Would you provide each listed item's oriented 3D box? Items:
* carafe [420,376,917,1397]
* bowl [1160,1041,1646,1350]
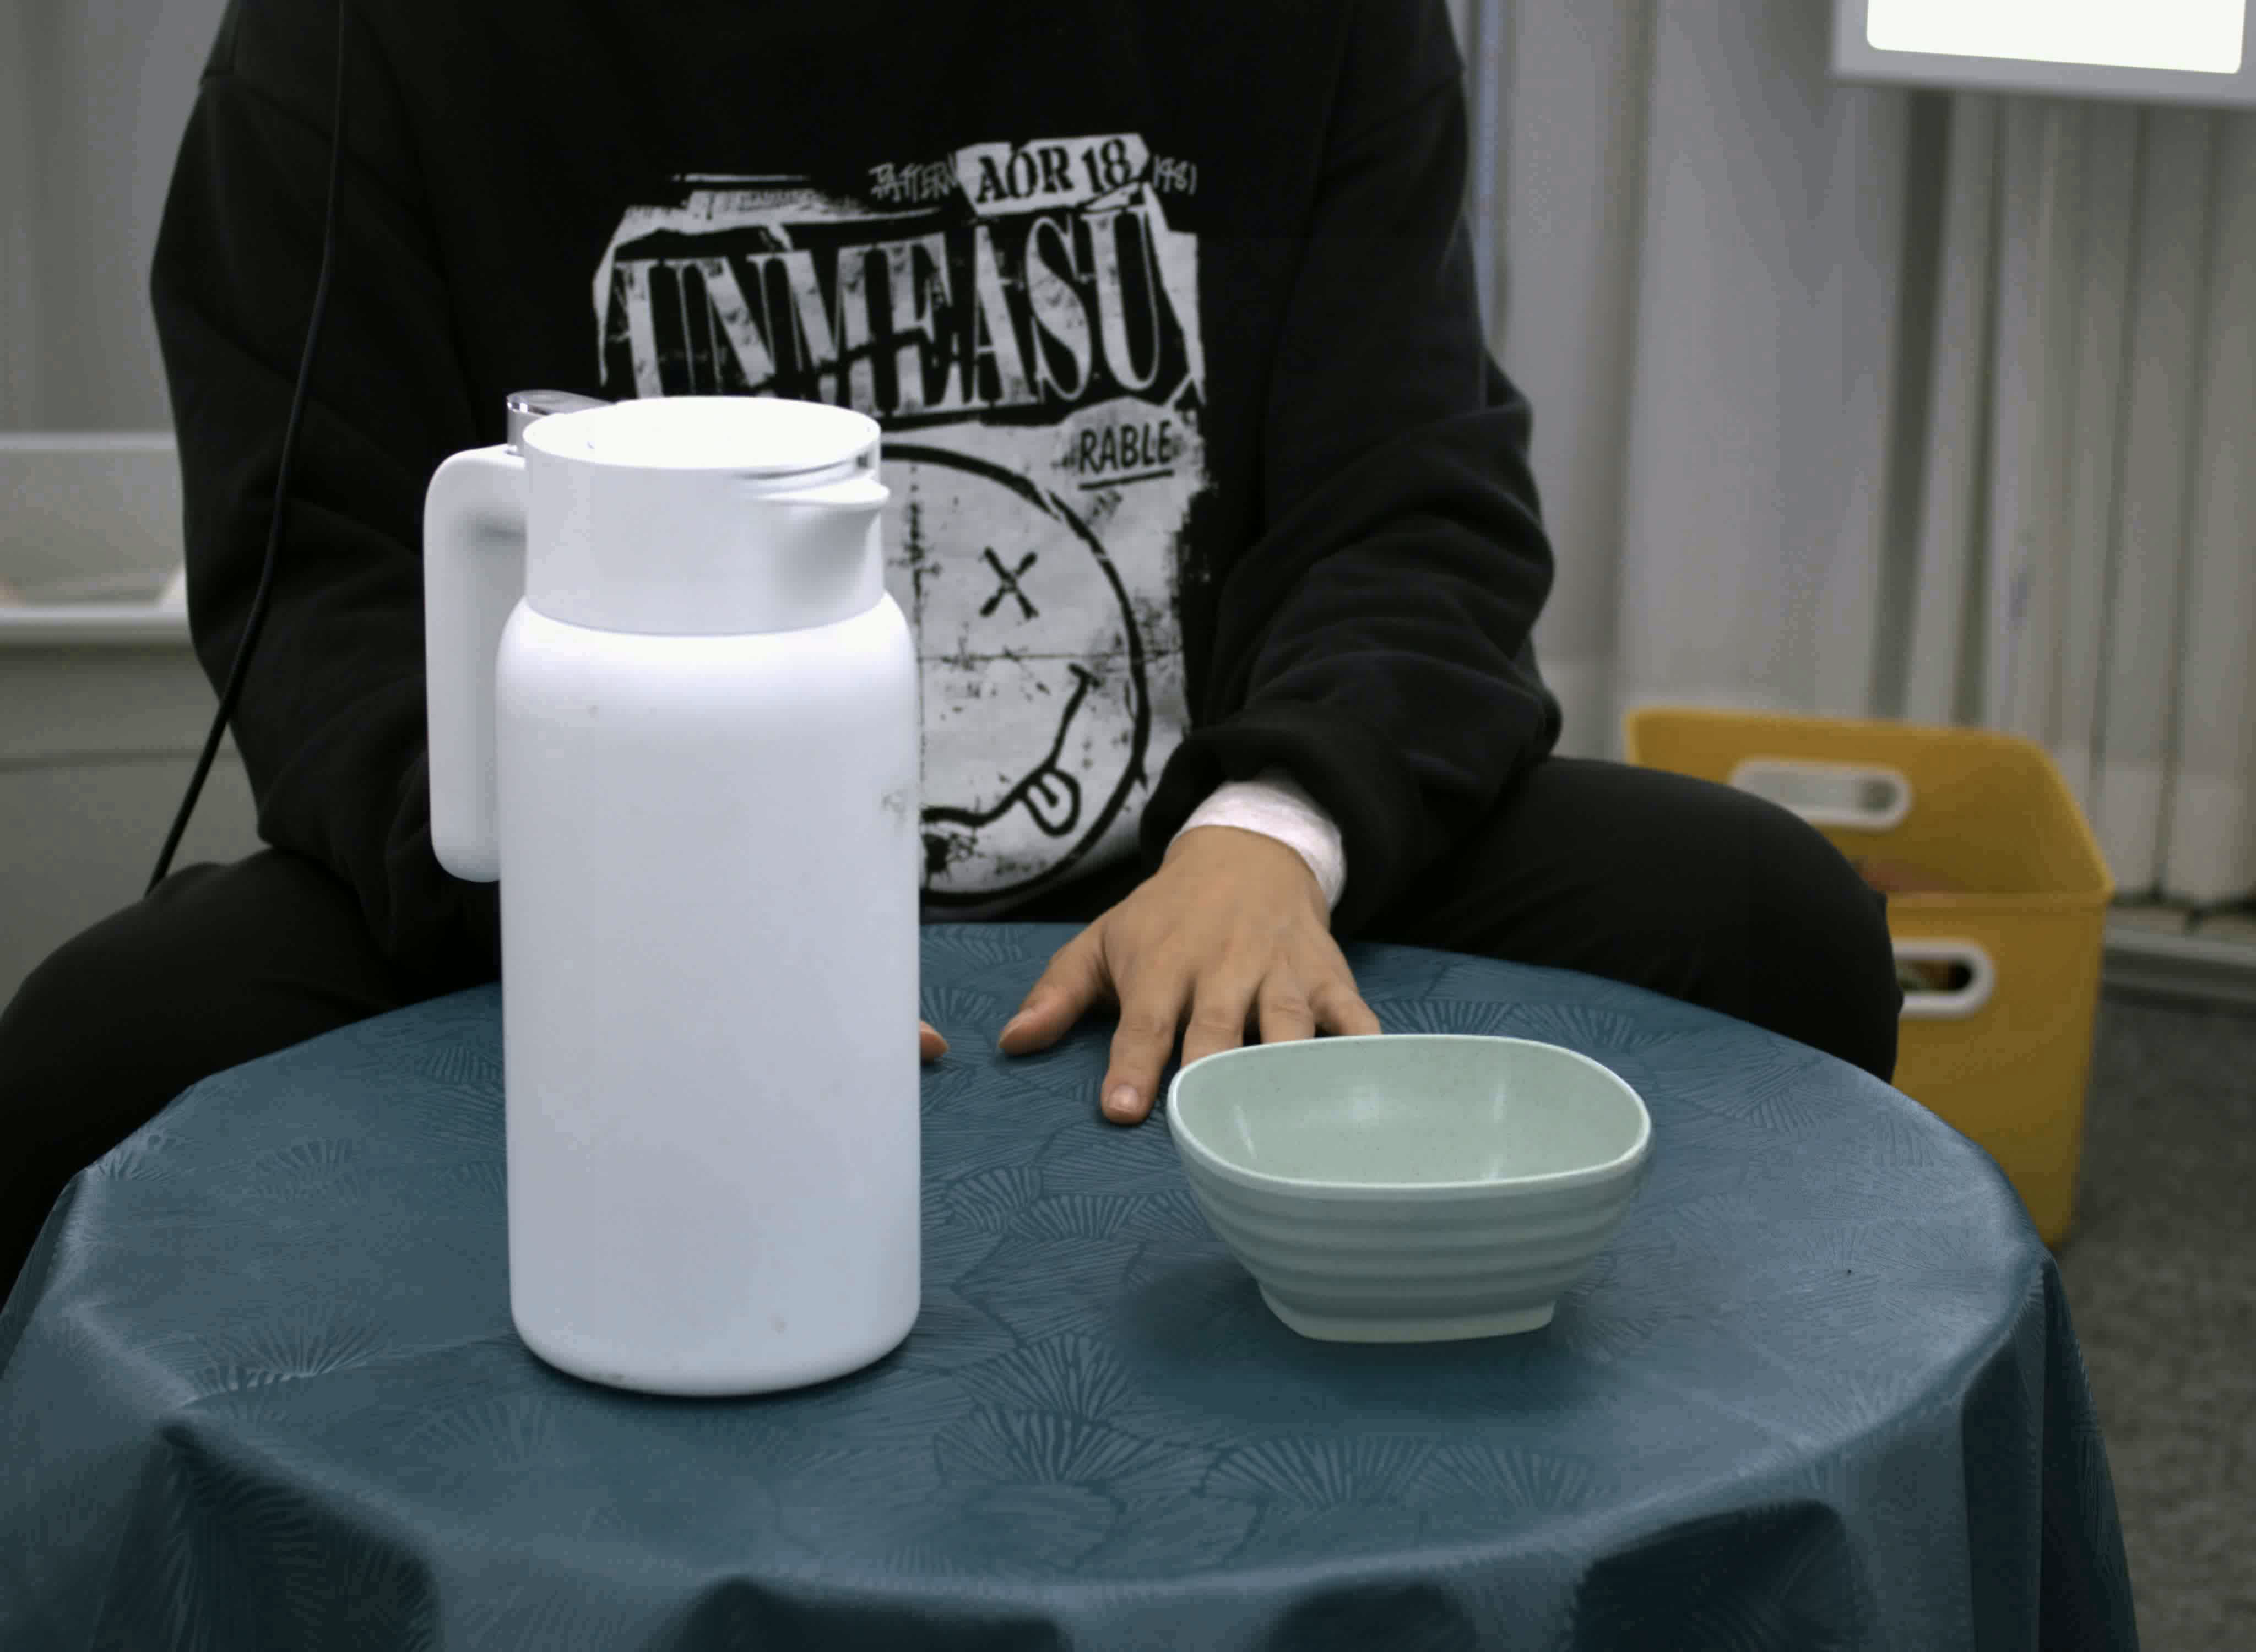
[{"bbox_3d":[-0.131,0.014,1.473,0.170,0.271,0.124,14,23,39],"label":"carafe"},{"bbox_3d":[0.079,0.111,1.532,0.151,0.059,0.150,1,15,0],"label":"bowl"}]
